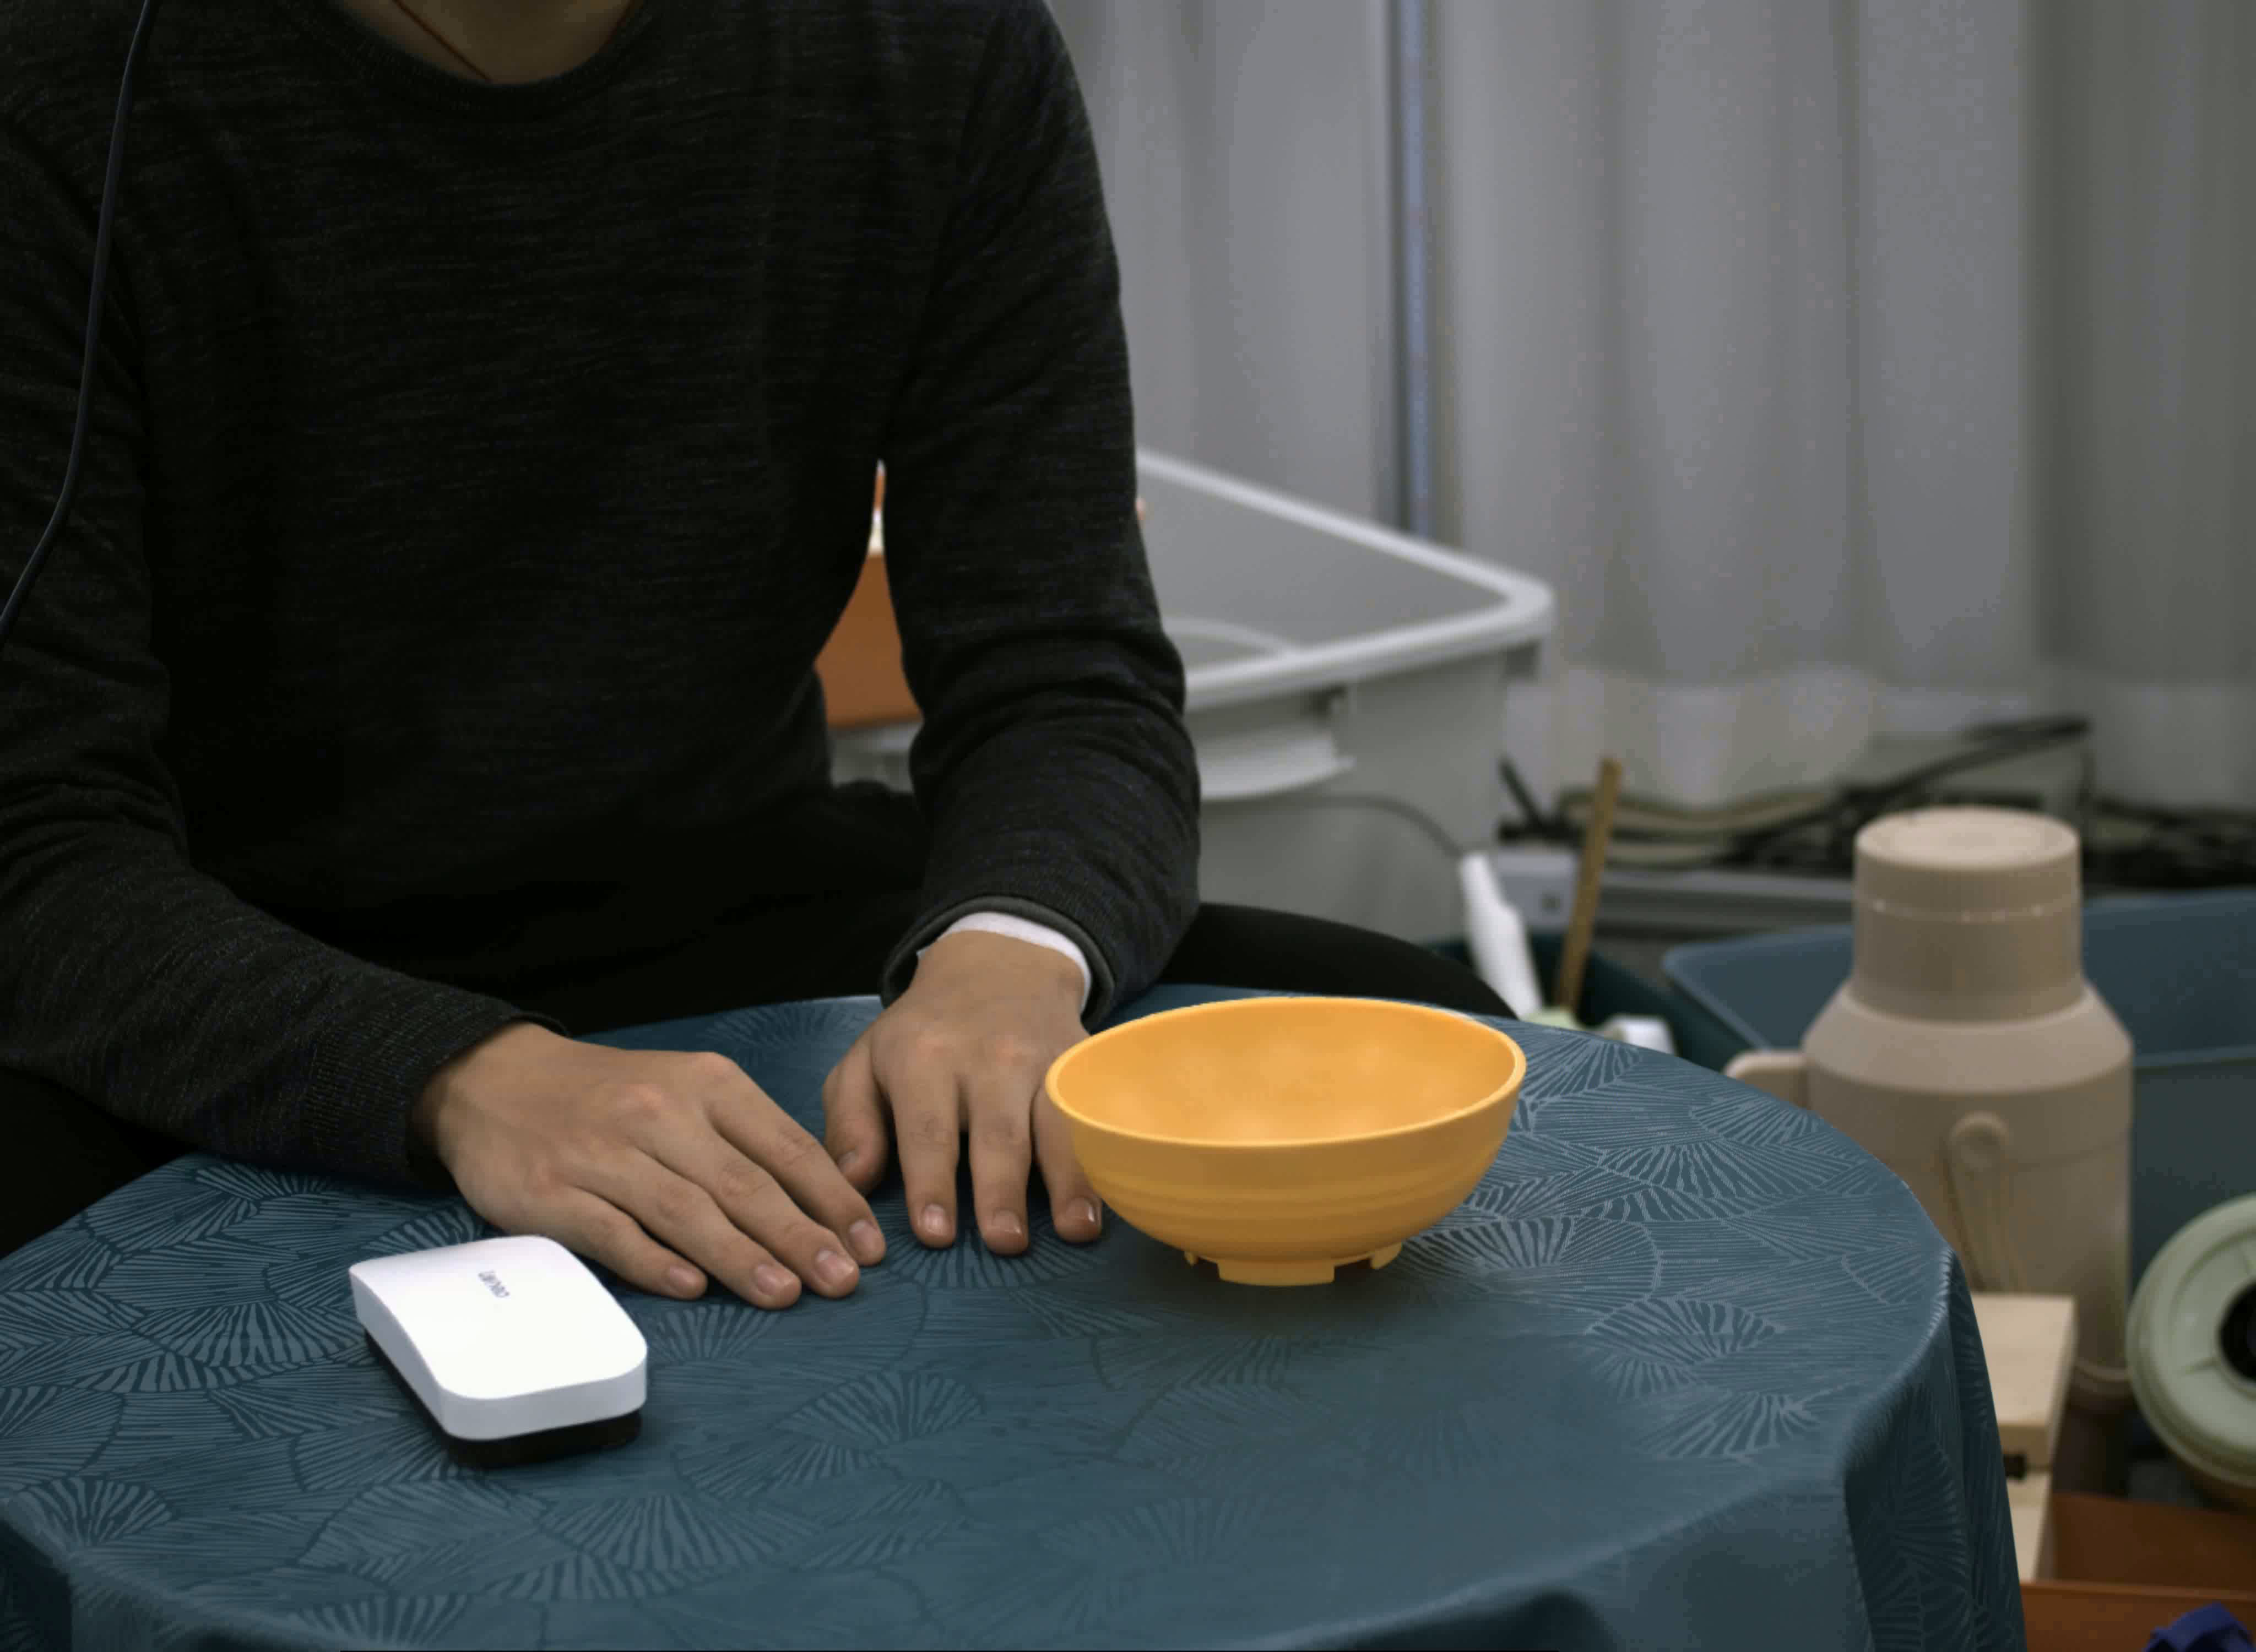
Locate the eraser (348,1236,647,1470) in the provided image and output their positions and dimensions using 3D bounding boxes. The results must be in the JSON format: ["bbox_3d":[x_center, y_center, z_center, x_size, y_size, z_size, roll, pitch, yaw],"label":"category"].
[{"bbox_3d":[-0.180,0.147,1.569,0.063,0.034,0.132,-7,16,-19],"label":"eraser"}]

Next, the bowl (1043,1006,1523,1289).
[{"bbox_3d":[0.047,0.101,1.645,0.145,0.060,0.146,-2,13,0],"label":"bowl"}]
